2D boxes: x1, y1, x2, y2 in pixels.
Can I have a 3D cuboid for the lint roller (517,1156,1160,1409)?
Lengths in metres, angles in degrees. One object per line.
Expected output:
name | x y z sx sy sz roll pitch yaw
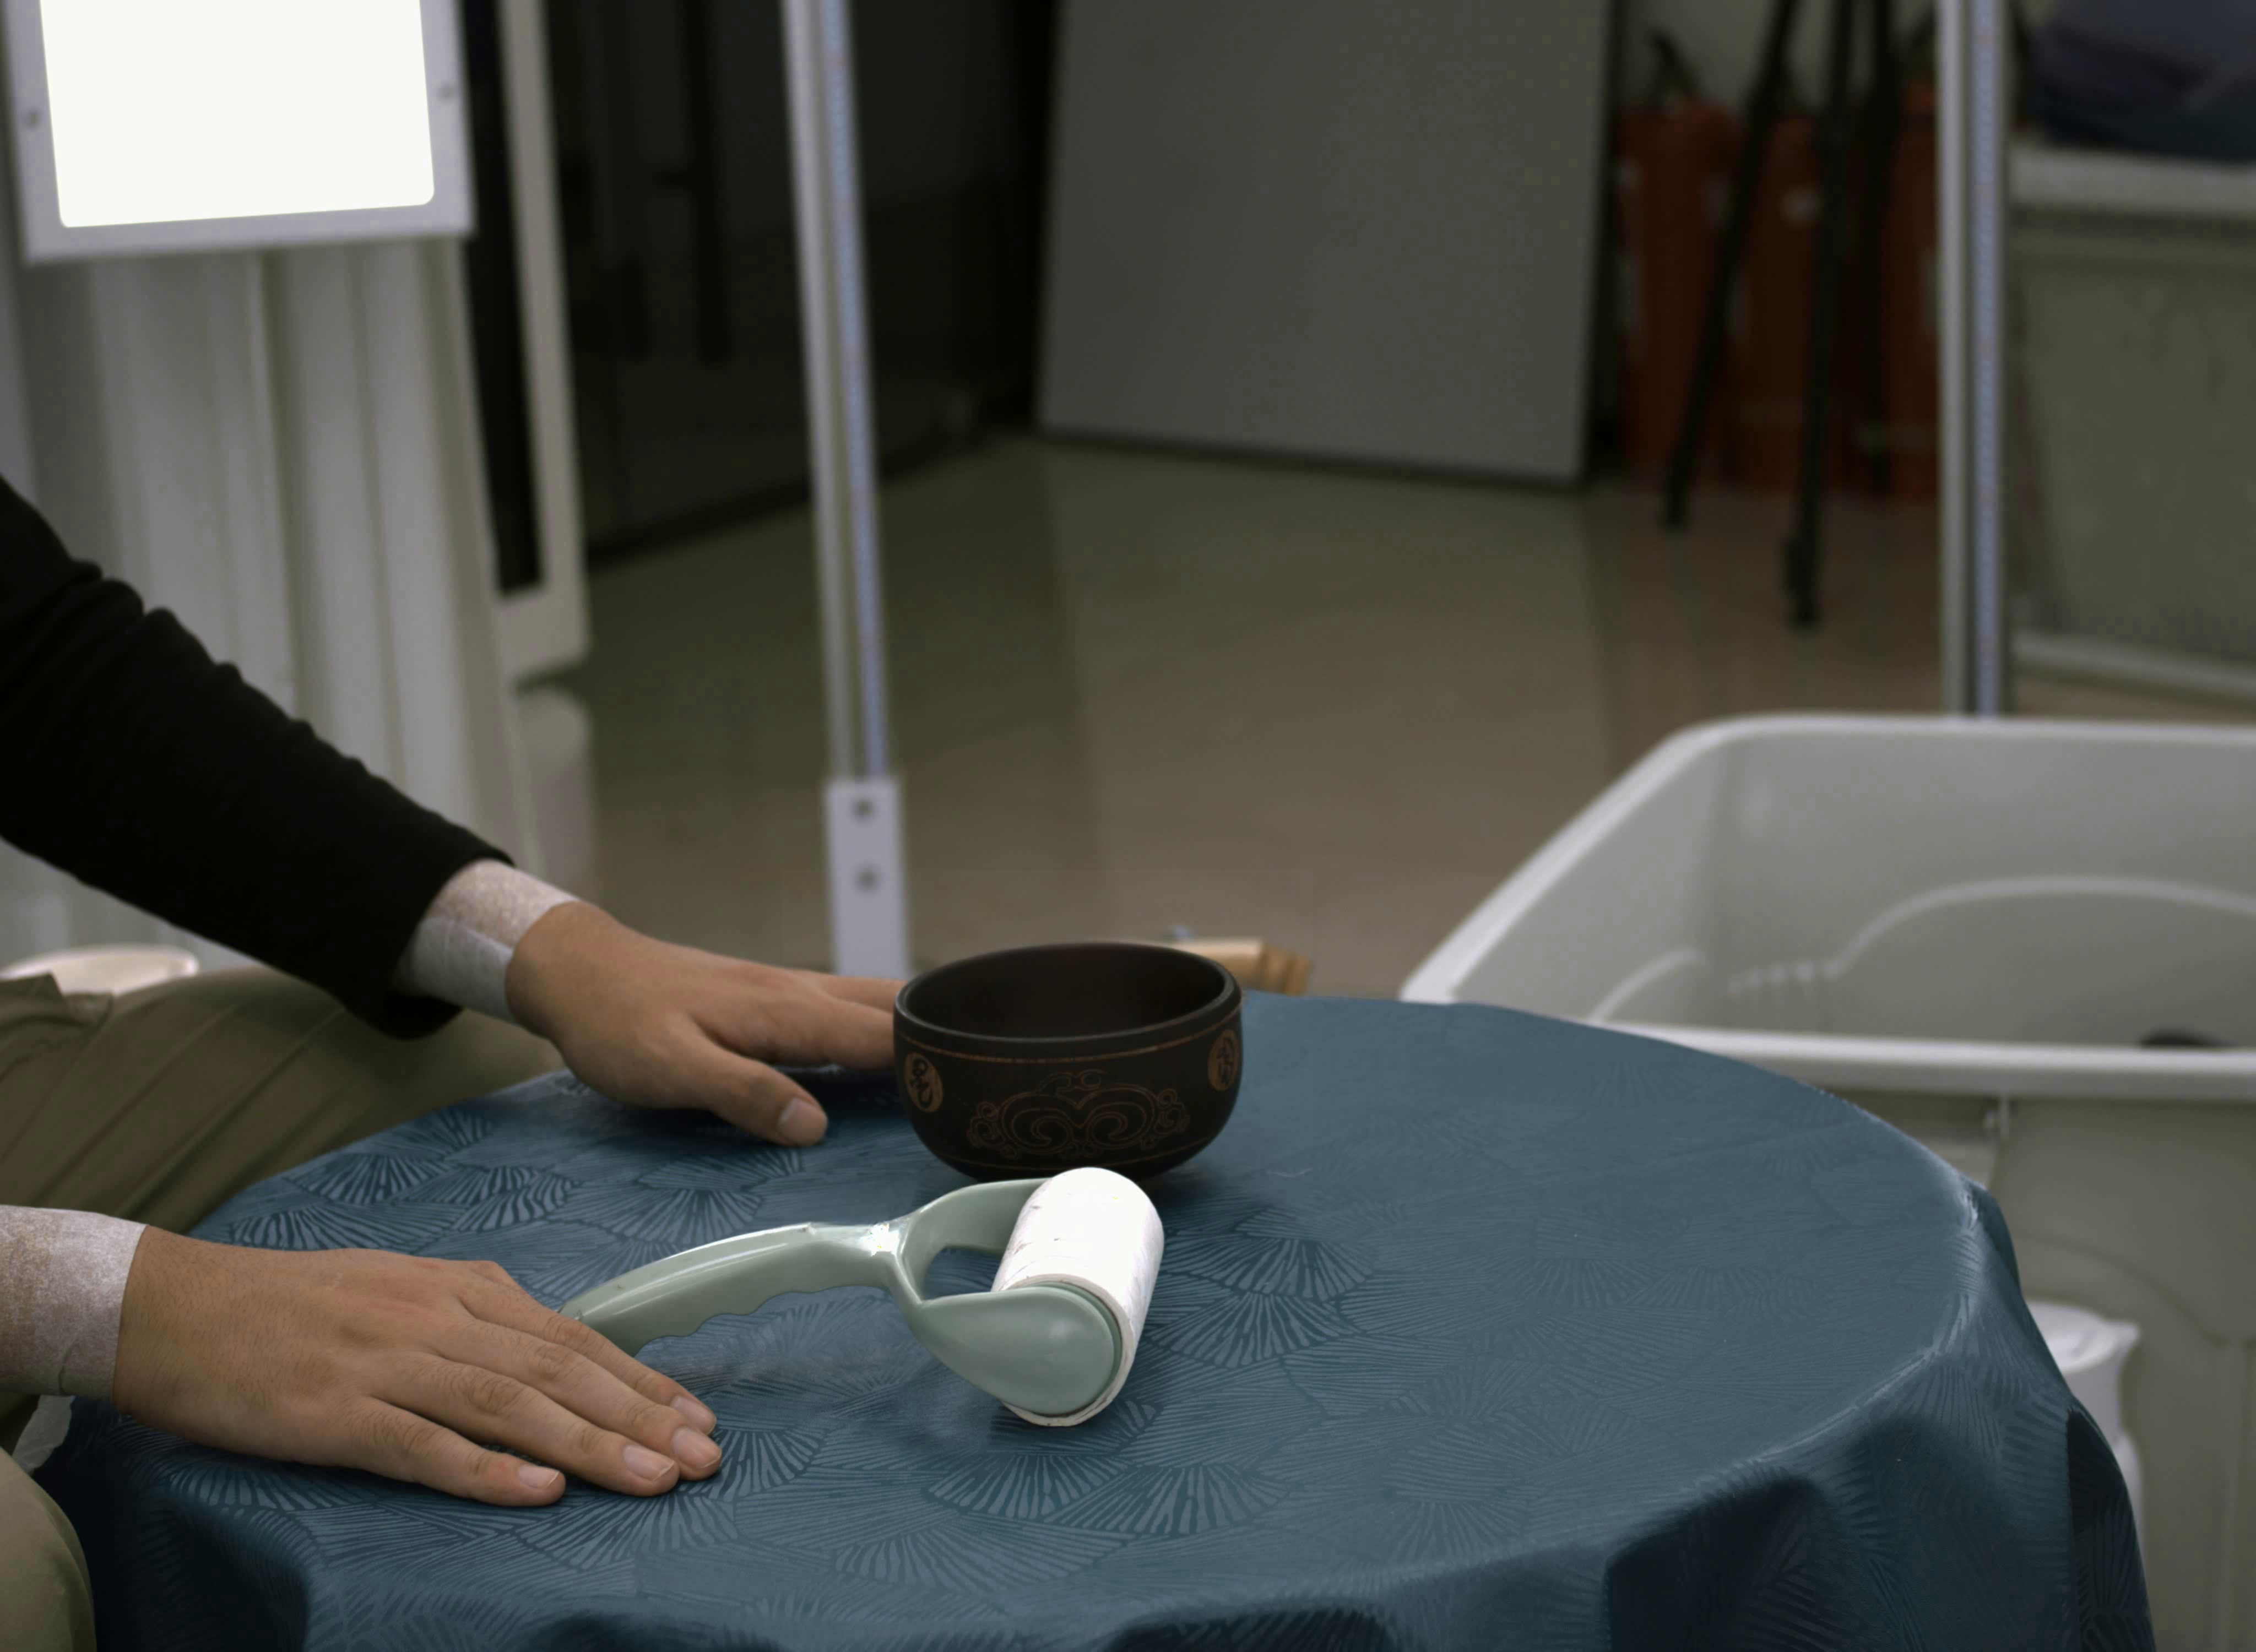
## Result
lint roller | -0.088 0.141 1.619 0.196 0.049 0.116 -4 14 8

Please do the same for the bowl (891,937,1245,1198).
bowl | -0.018 0.085 1.769 0.116 0.070 0.118 -5 14 0
